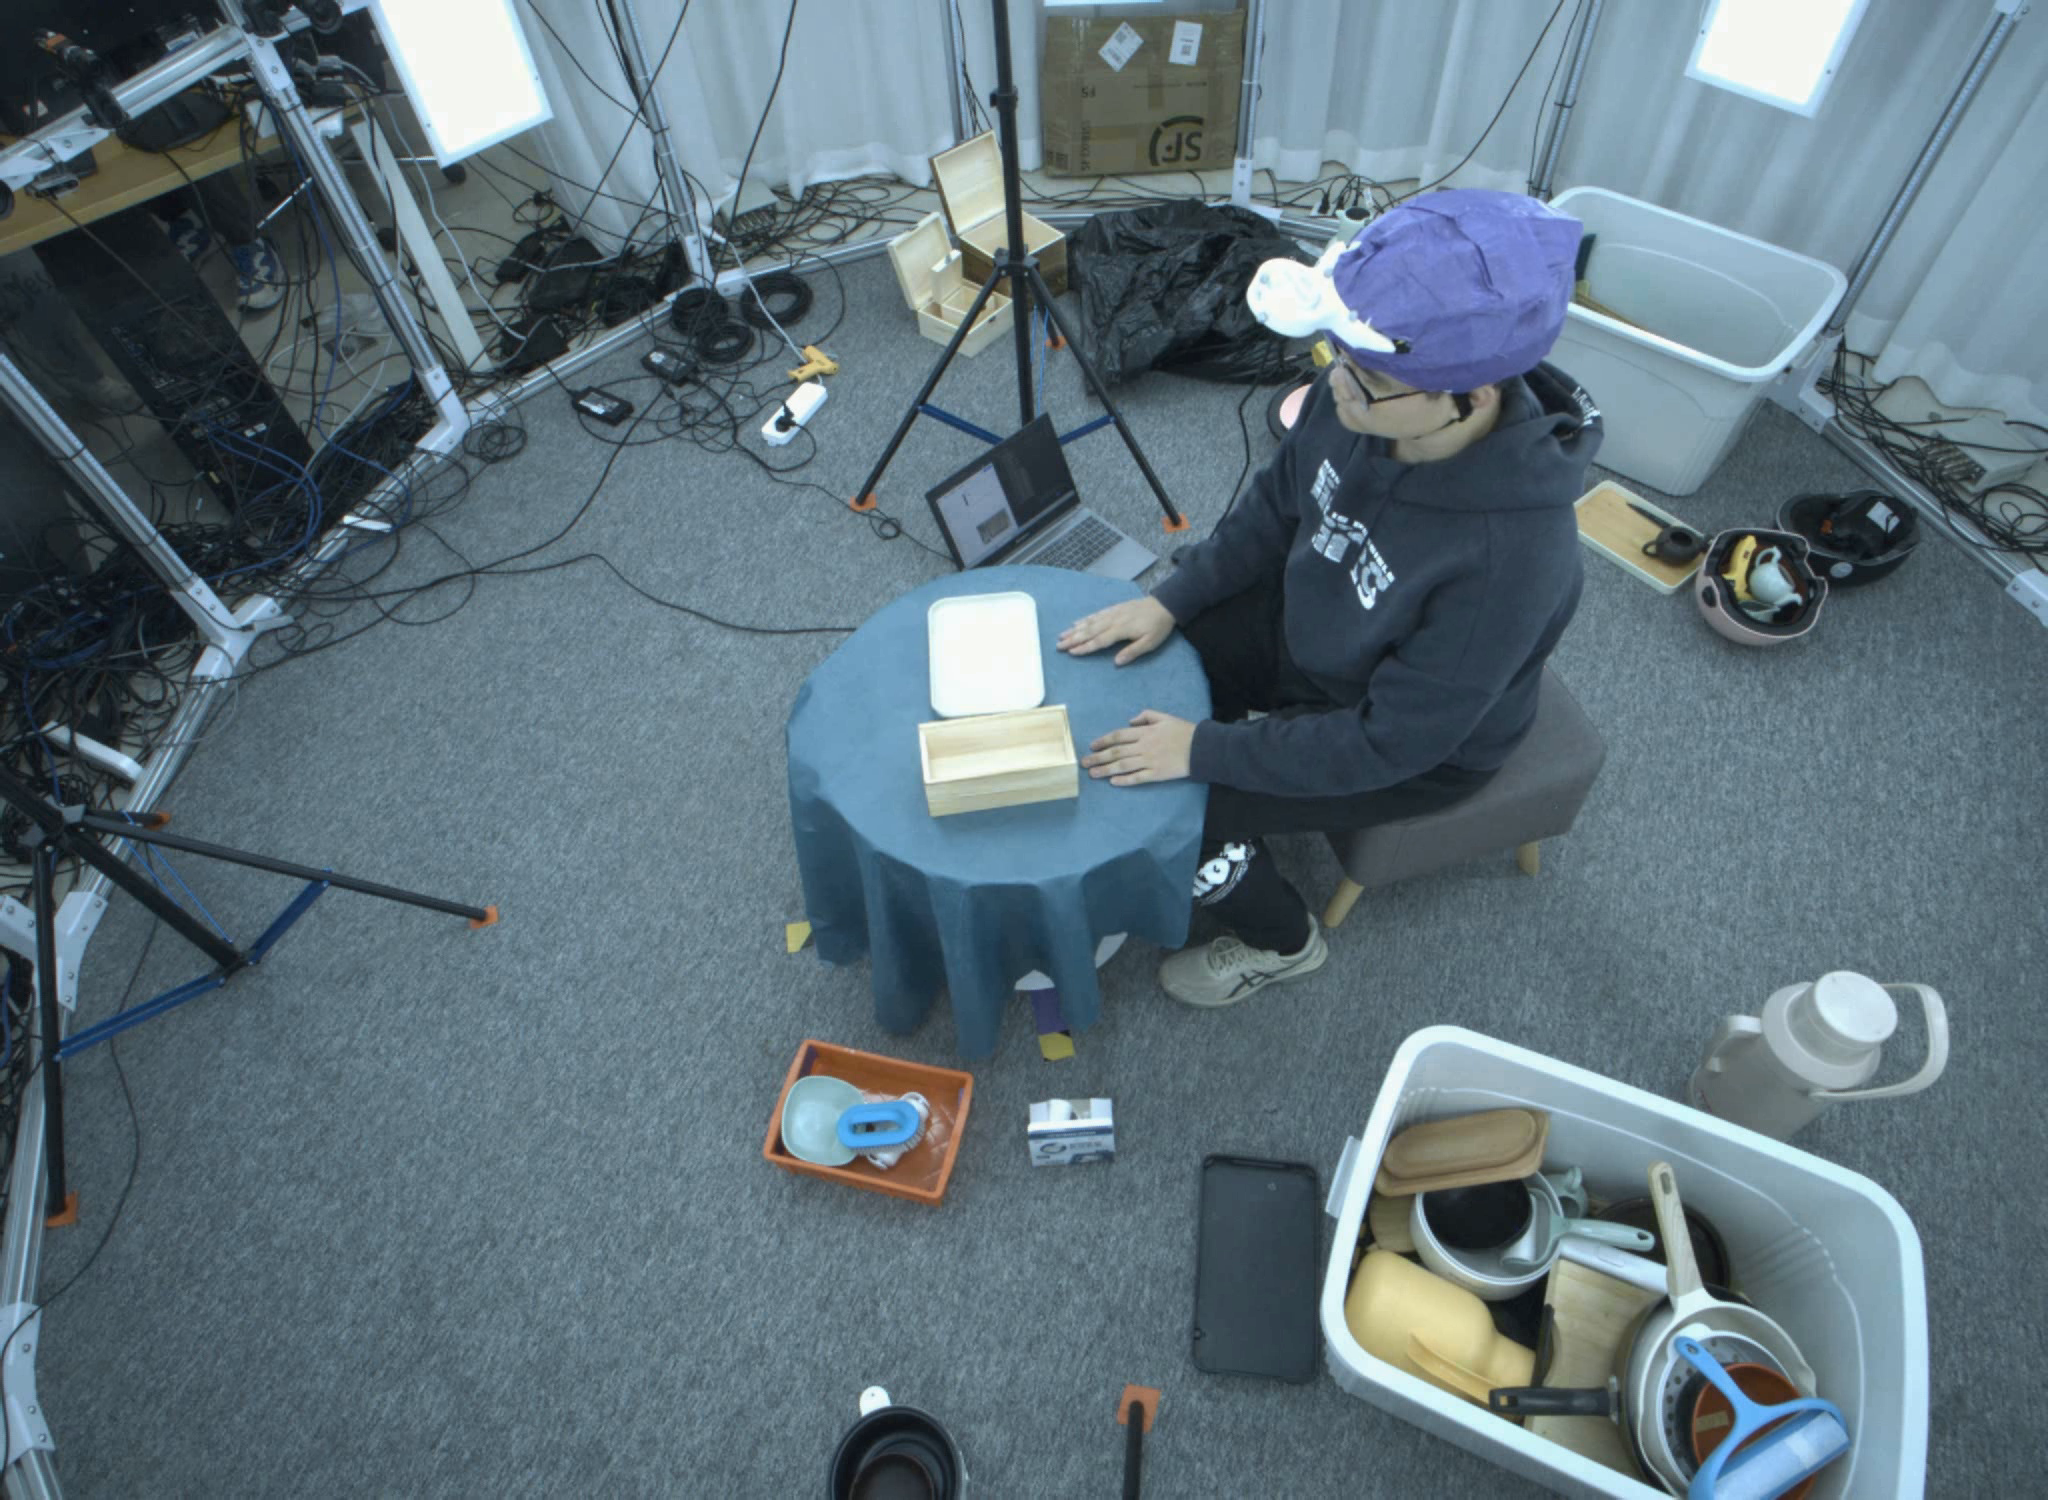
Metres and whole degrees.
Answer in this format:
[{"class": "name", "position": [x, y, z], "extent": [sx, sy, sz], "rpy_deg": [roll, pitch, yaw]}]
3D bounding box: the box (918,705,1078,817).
[{"class": "box", "position": [-0.036, 0.015, 1.729], "extent": [0.212, 0.081, 0.106], "rpy_deg": [-8, 55, -4]}]

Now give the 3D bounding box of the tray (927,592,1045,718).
[{"class": "tray", "position": [-0.060, -0.146, 1.882], "extent": [0.171, 0.017, 0.236], "rpy_deg": [-4, 55, -2]}]
